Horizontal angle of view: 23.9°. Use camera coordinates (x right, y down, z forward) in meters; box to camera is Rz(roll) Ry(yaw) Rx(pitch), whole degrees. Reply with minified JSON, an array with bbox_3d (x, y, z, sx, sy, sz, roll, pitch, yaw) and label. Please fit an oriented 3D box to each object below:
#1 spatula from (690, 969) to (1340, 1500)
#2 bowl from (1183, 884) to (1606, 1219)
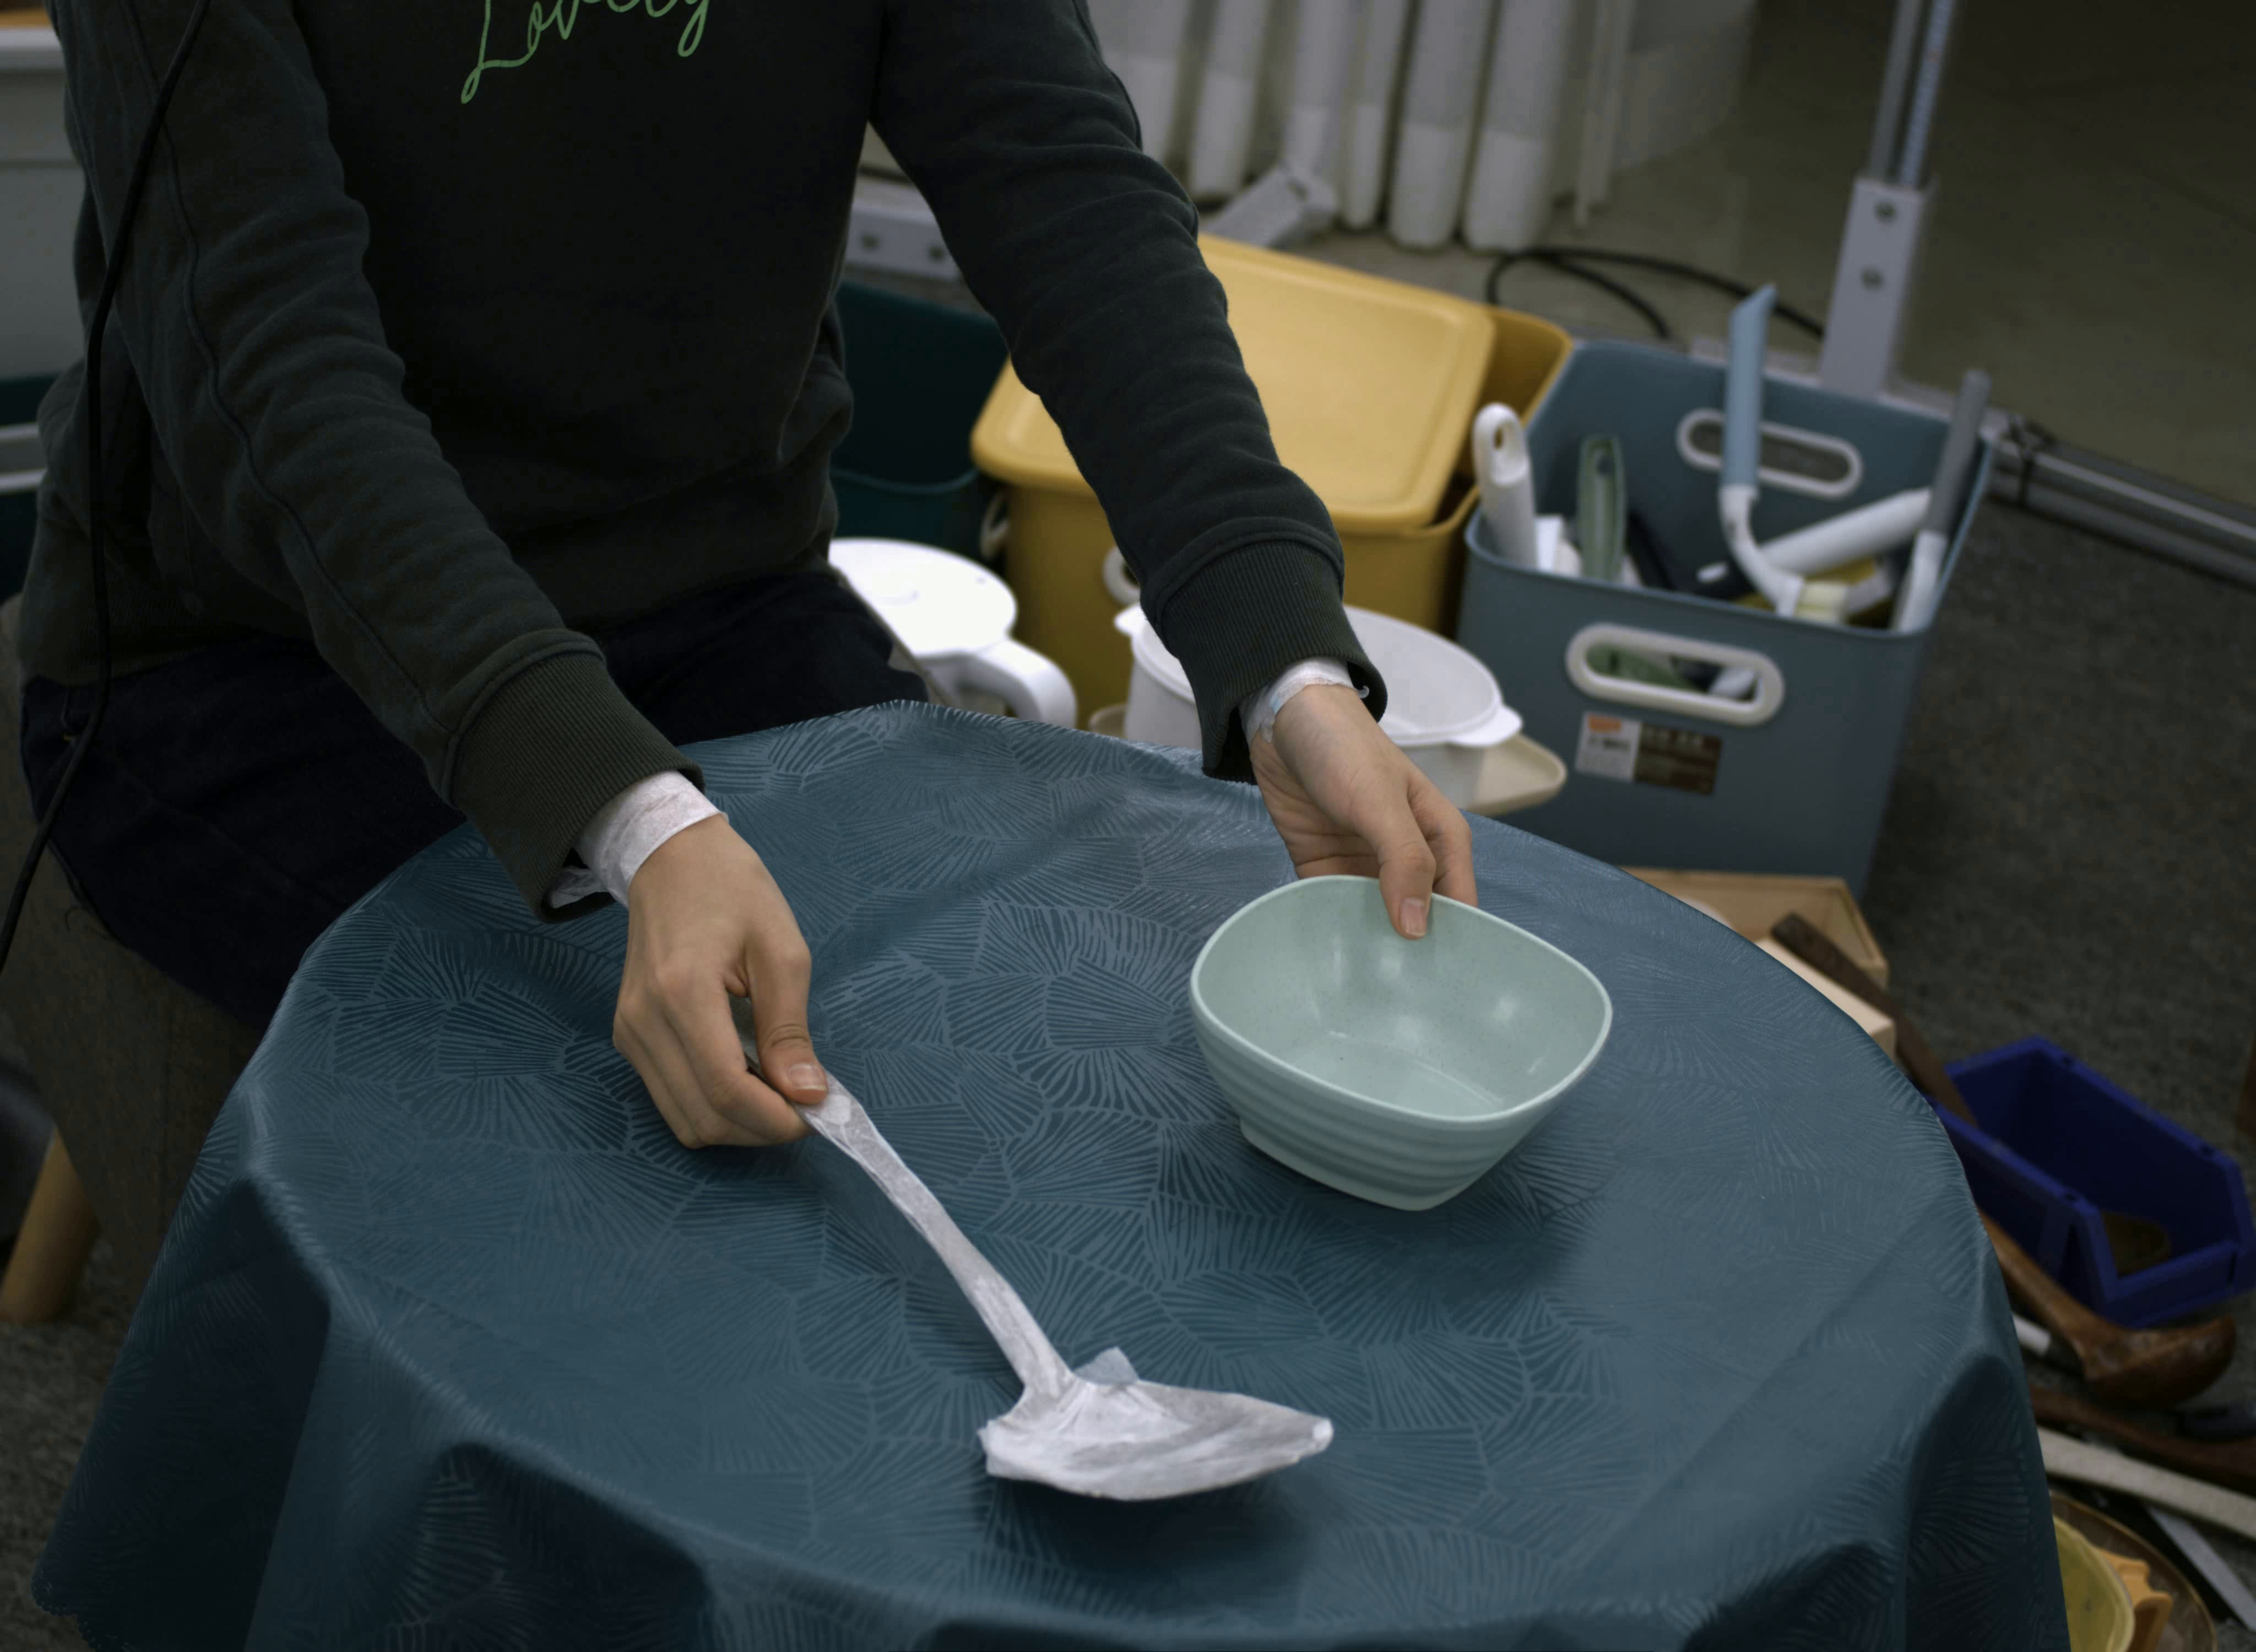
[{"bbox_3d":[-0.061,0.124,1.730,0.098,0.044,0.368,-12,35,-29],"label":"spatula"},{"bbox_3d":[0.087,0.084,1.835,0.151,0.058,0.152,8,29,-5],"label":"bowl"}]
